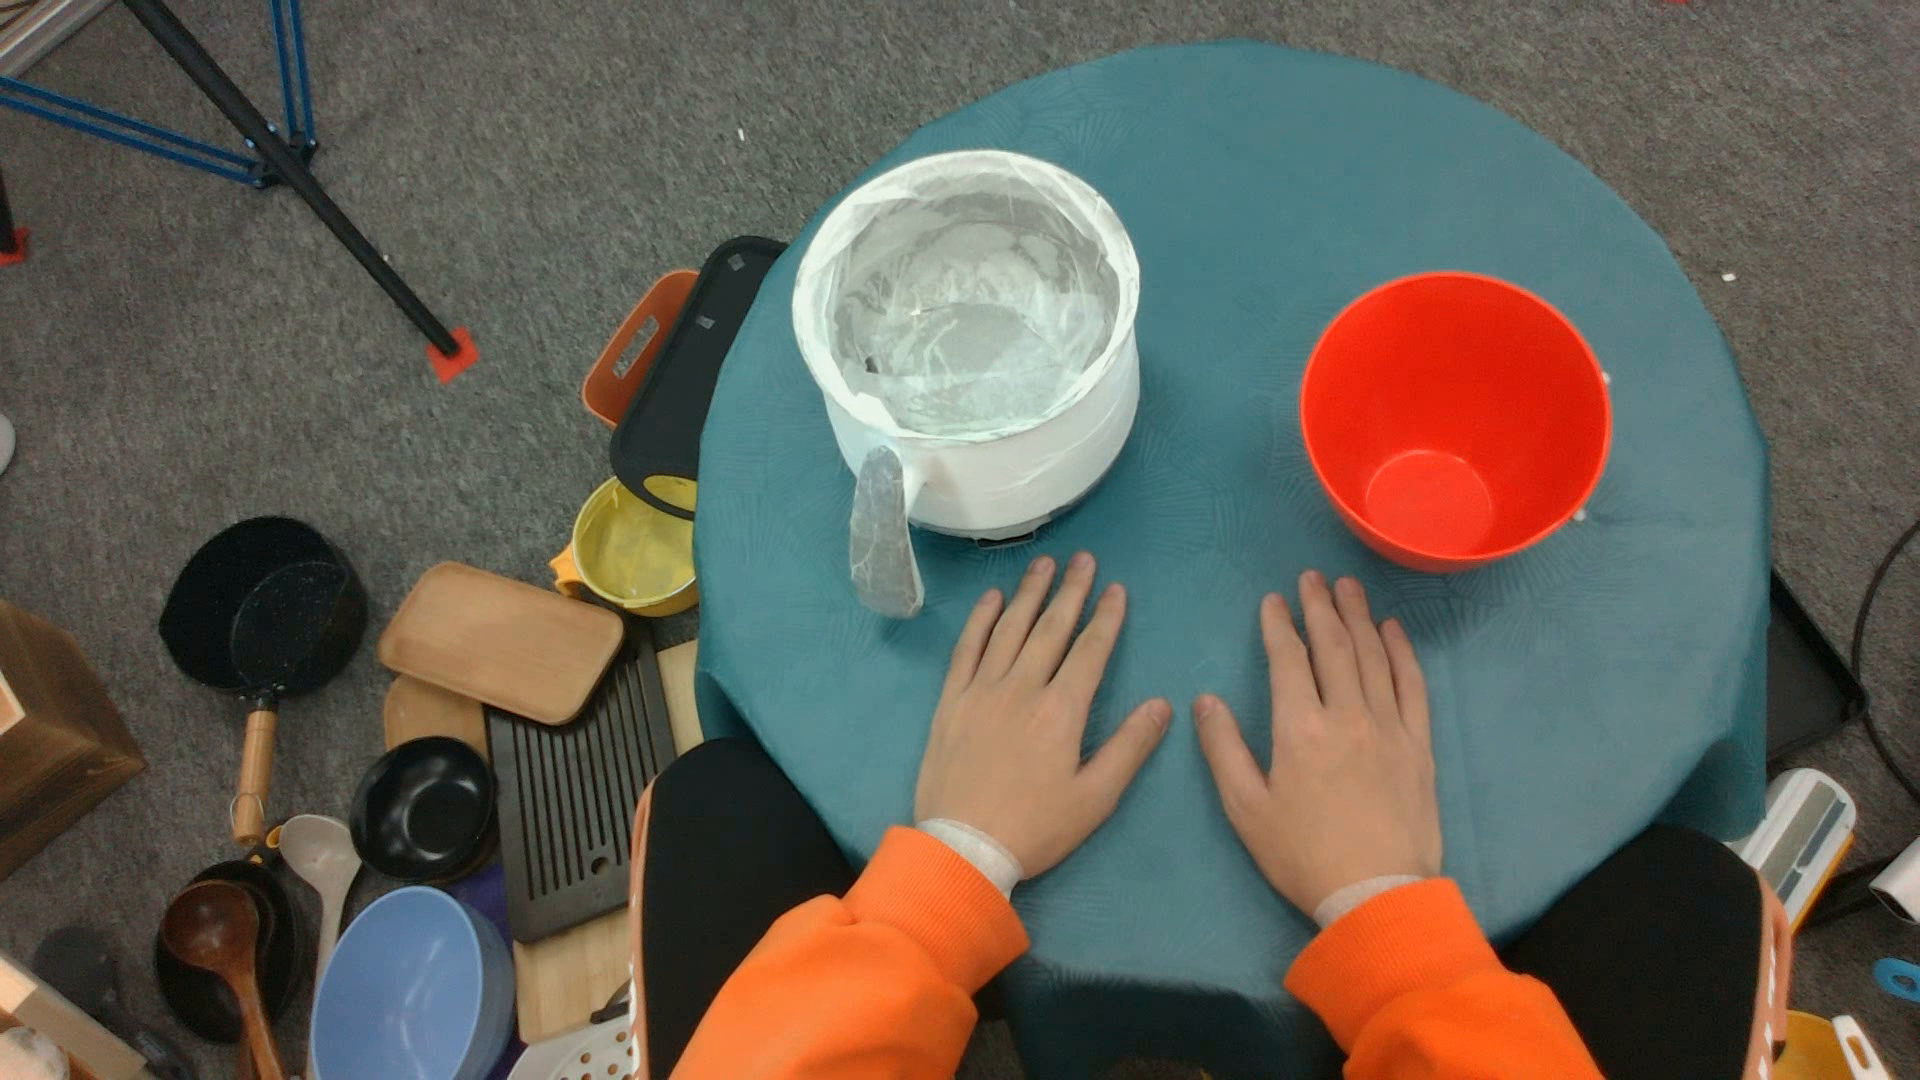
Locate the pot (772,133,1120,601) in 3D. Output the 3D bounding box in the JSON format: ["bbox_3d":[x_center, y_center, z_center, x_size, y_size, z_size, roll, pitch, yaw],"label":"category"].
[{"bbox_3d":[-0.011,-0.086,0.743,0.178,0.136,0.234,16,69,14],"label":"pot"}]

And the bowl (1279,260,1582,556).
[{"bbox_3d":[0.239,-0.056,0.724,0.148,0.104,0.148,-2,68,6],"label":"bowl"}]
